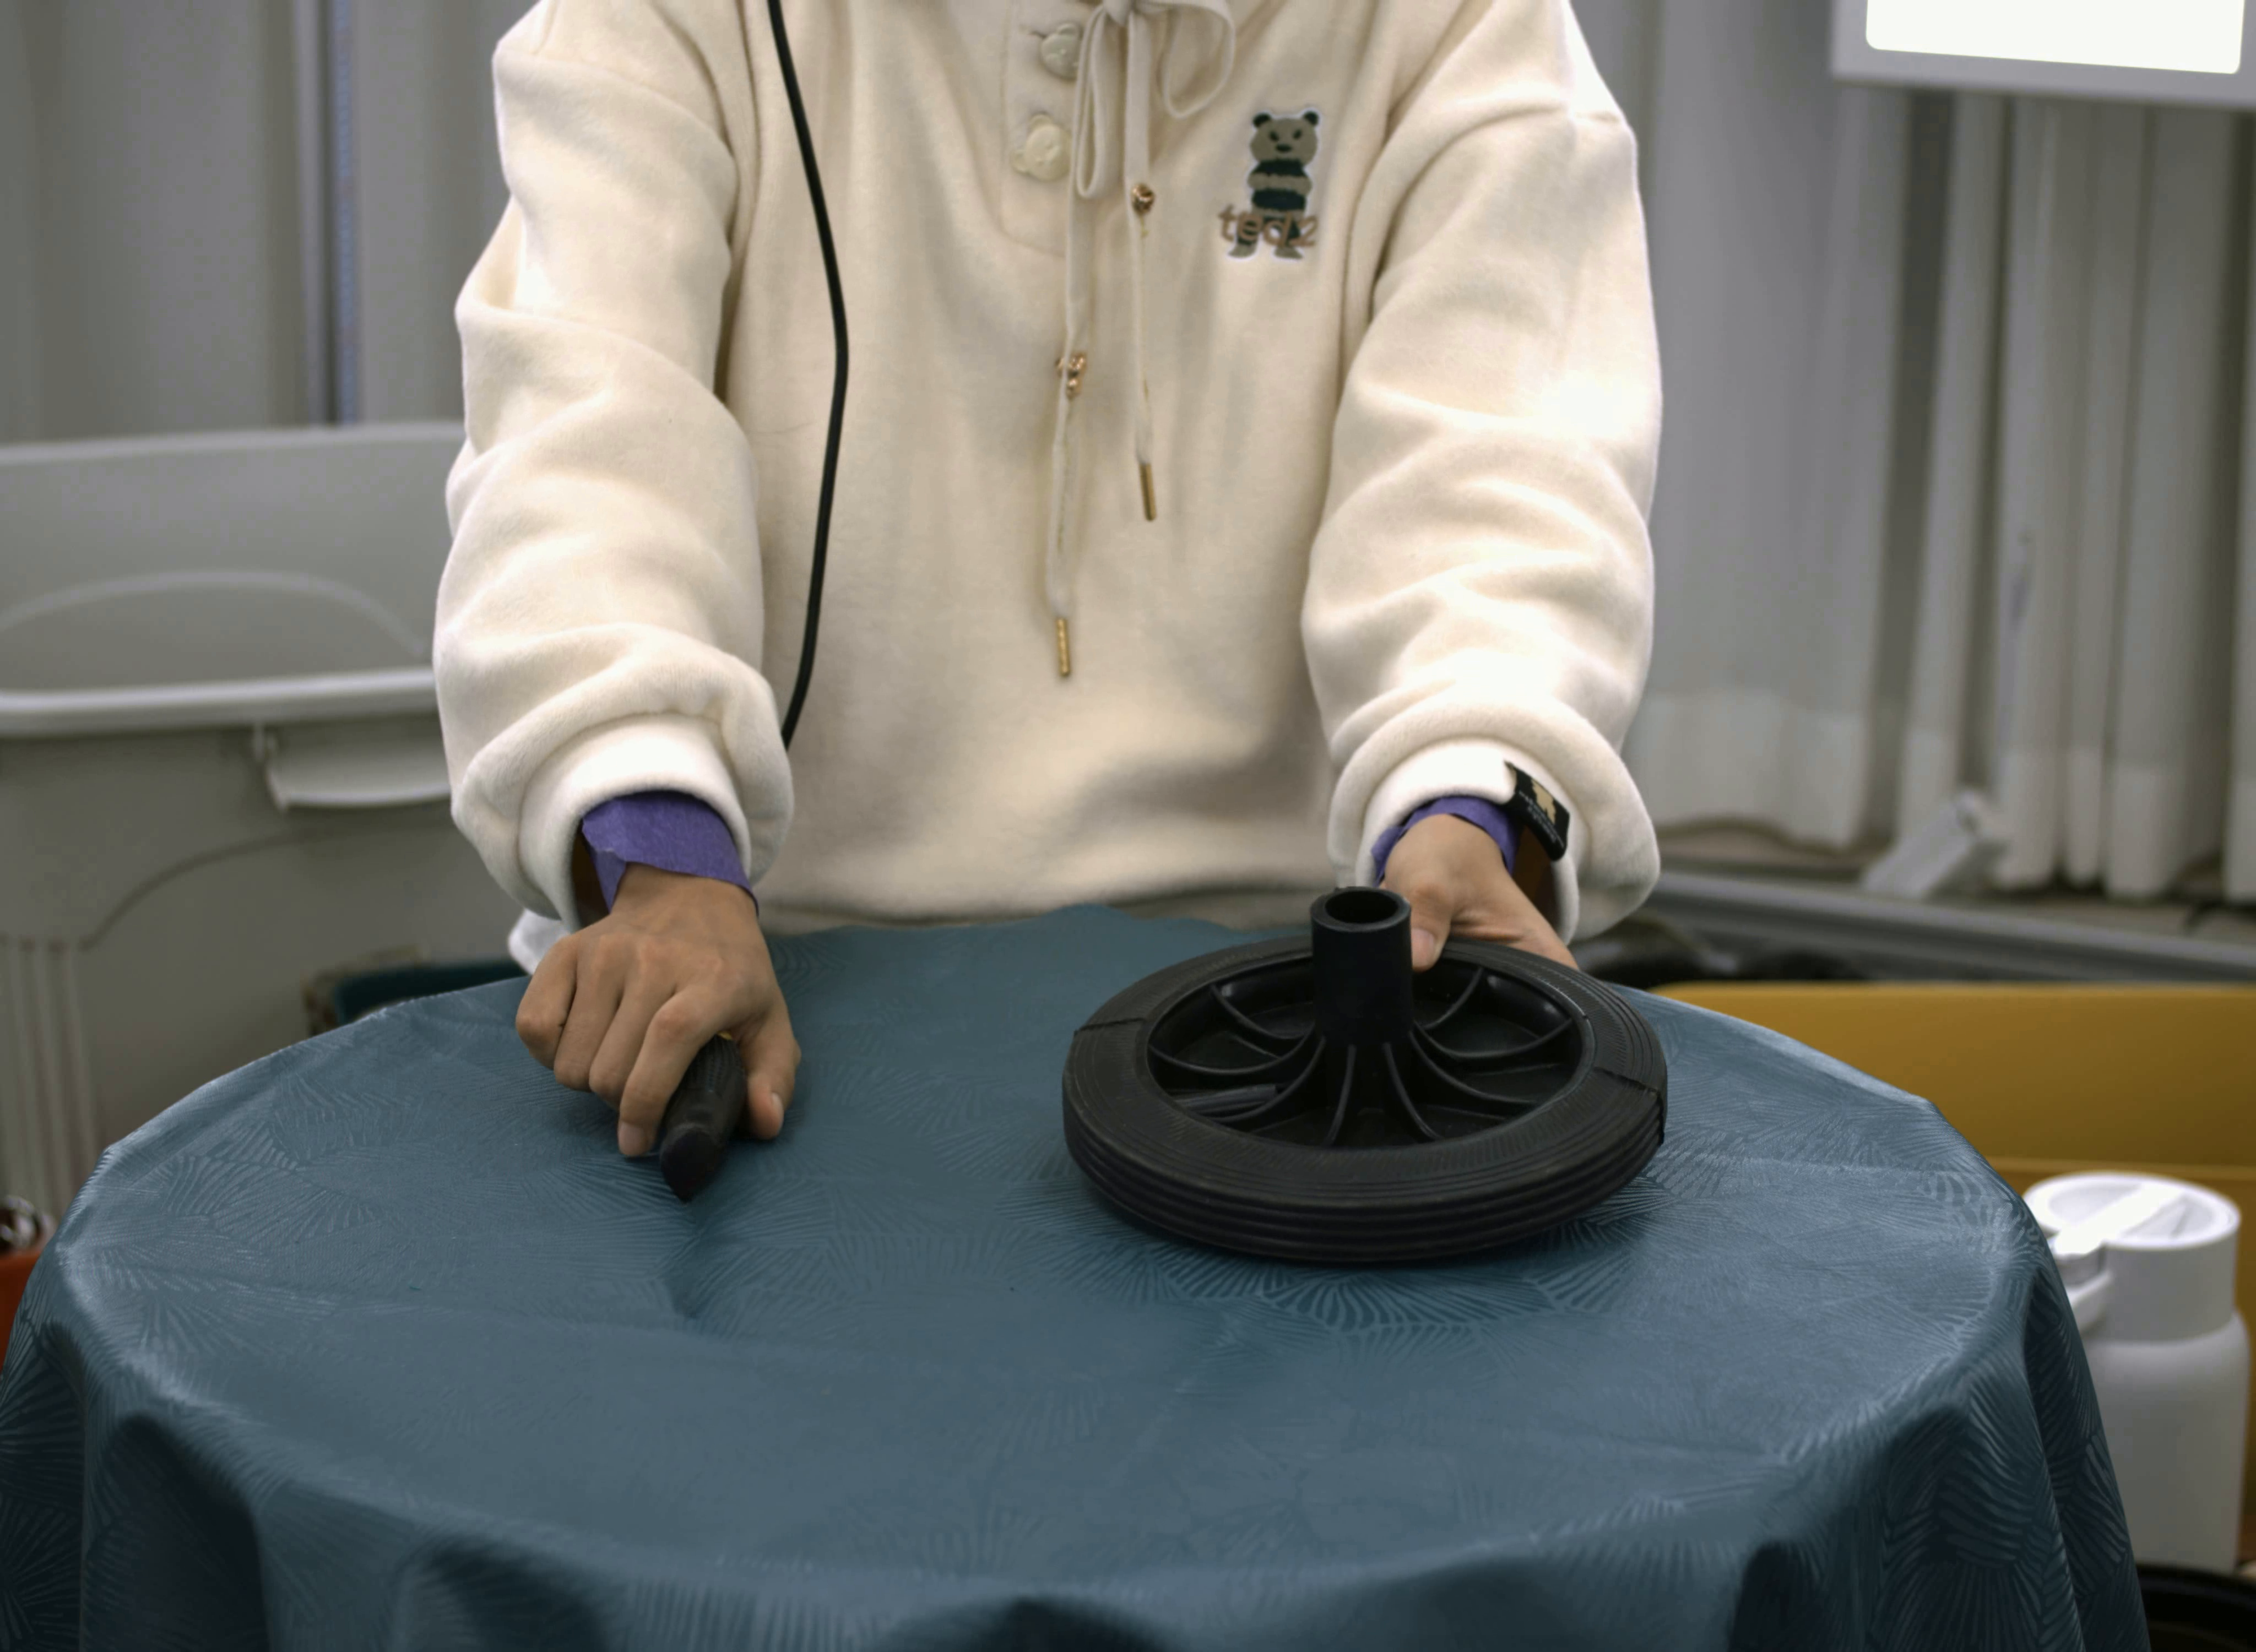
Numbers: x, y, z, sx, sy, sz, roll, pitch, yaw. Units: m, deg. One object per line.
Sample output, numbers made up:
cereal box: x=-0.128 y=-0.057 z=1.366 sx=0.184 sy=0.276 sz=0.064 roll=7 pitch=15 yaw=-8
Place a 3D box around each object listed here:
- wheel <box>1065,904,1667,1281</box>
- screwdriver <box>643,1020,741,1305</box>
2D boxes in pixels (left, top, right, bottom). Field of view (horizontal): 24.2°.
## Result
wheel: x=0.071 y=0.066 z=1.623 sx=0.190 sy=0.080 sz=0.185 roll=-22 pitch=32 yaw=-32
screwdriver: x=-0.136 y=0.103 z=1.603 sx=0.031 sy=0.032 sz=0.196 roll=0 pitch=18 yaw=-2
